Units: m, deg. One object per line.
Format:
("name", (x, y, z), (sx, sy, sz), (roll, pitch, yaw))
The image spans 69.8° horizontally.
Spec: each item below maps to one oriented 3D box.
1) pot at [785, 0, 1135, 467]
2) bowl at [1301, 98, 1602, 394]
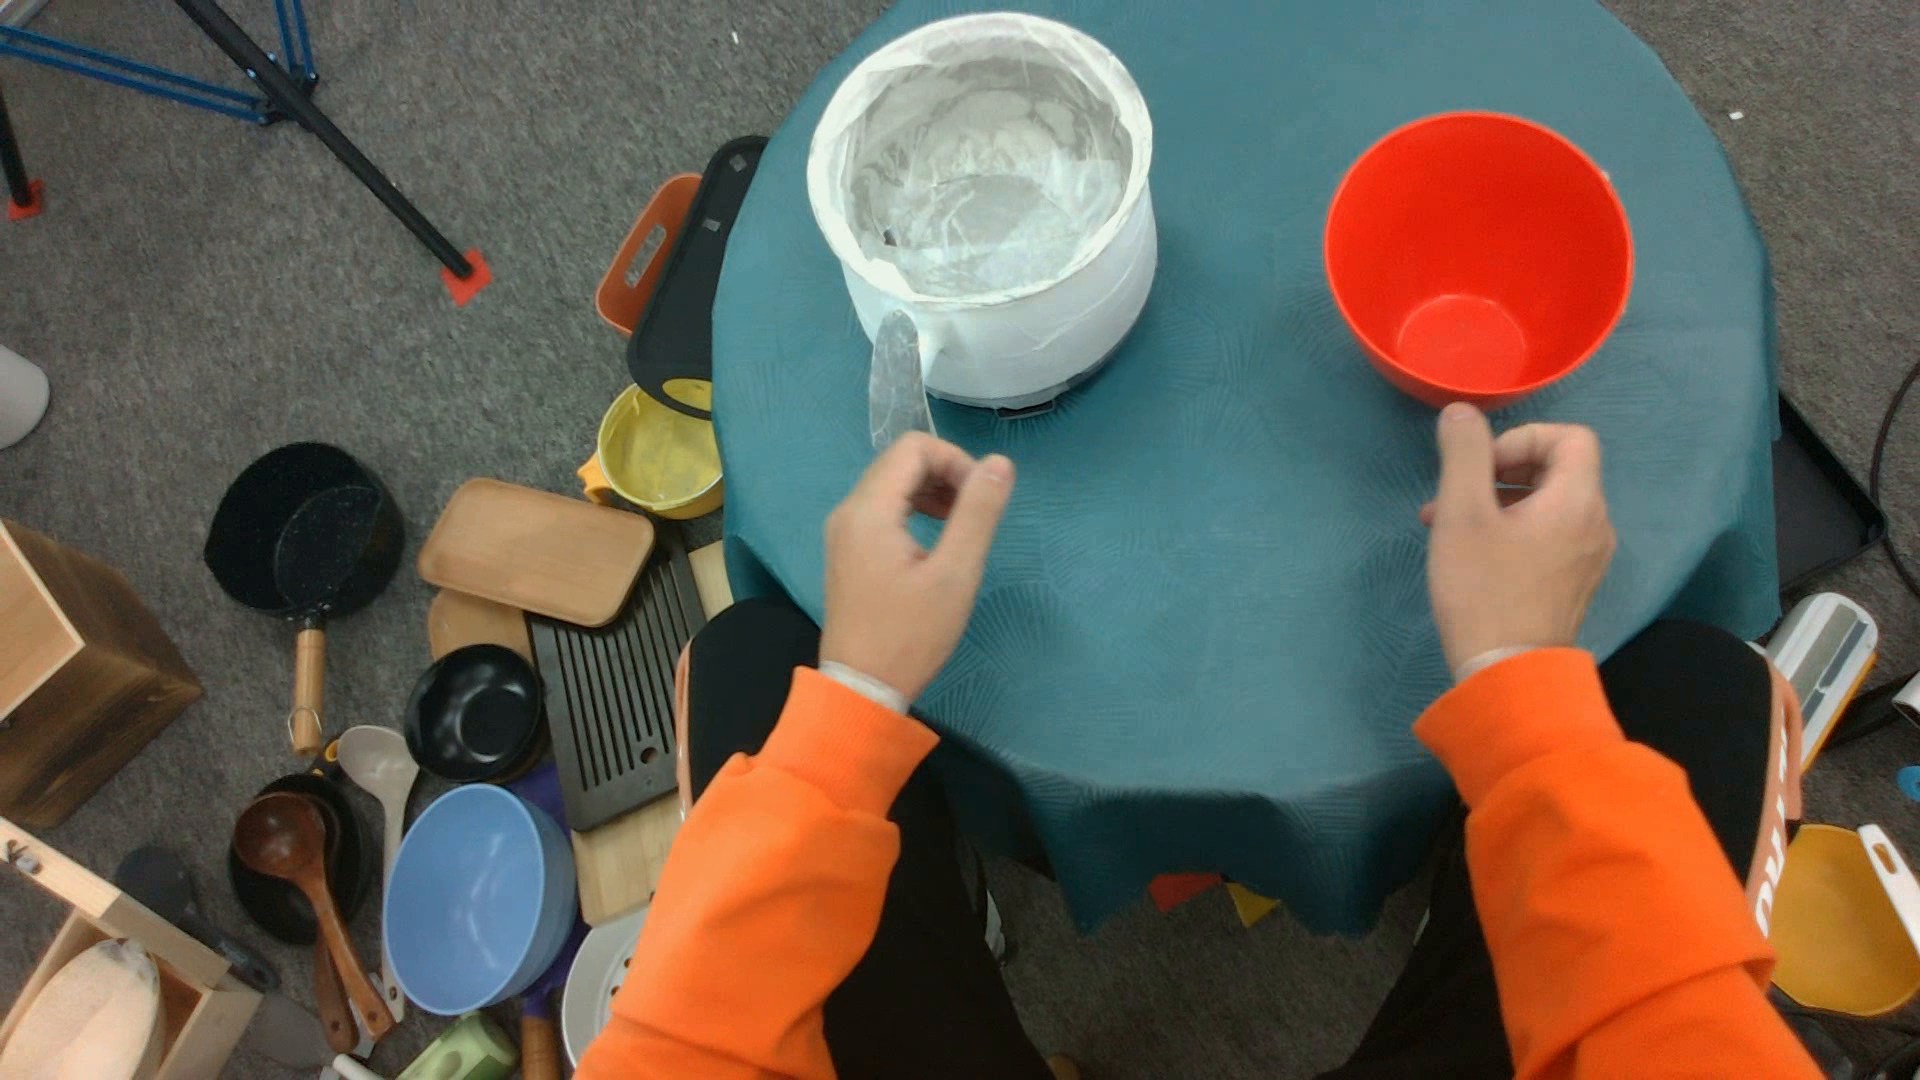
("pot", (-0.003, -0.160, 0.751), (0.178, 0.136, 0.234), (16, 73, 15))
("bowl", (0.252, -0.141, 0.726), (0.148, 0.104, 0.148), (-3, 71, 8))
